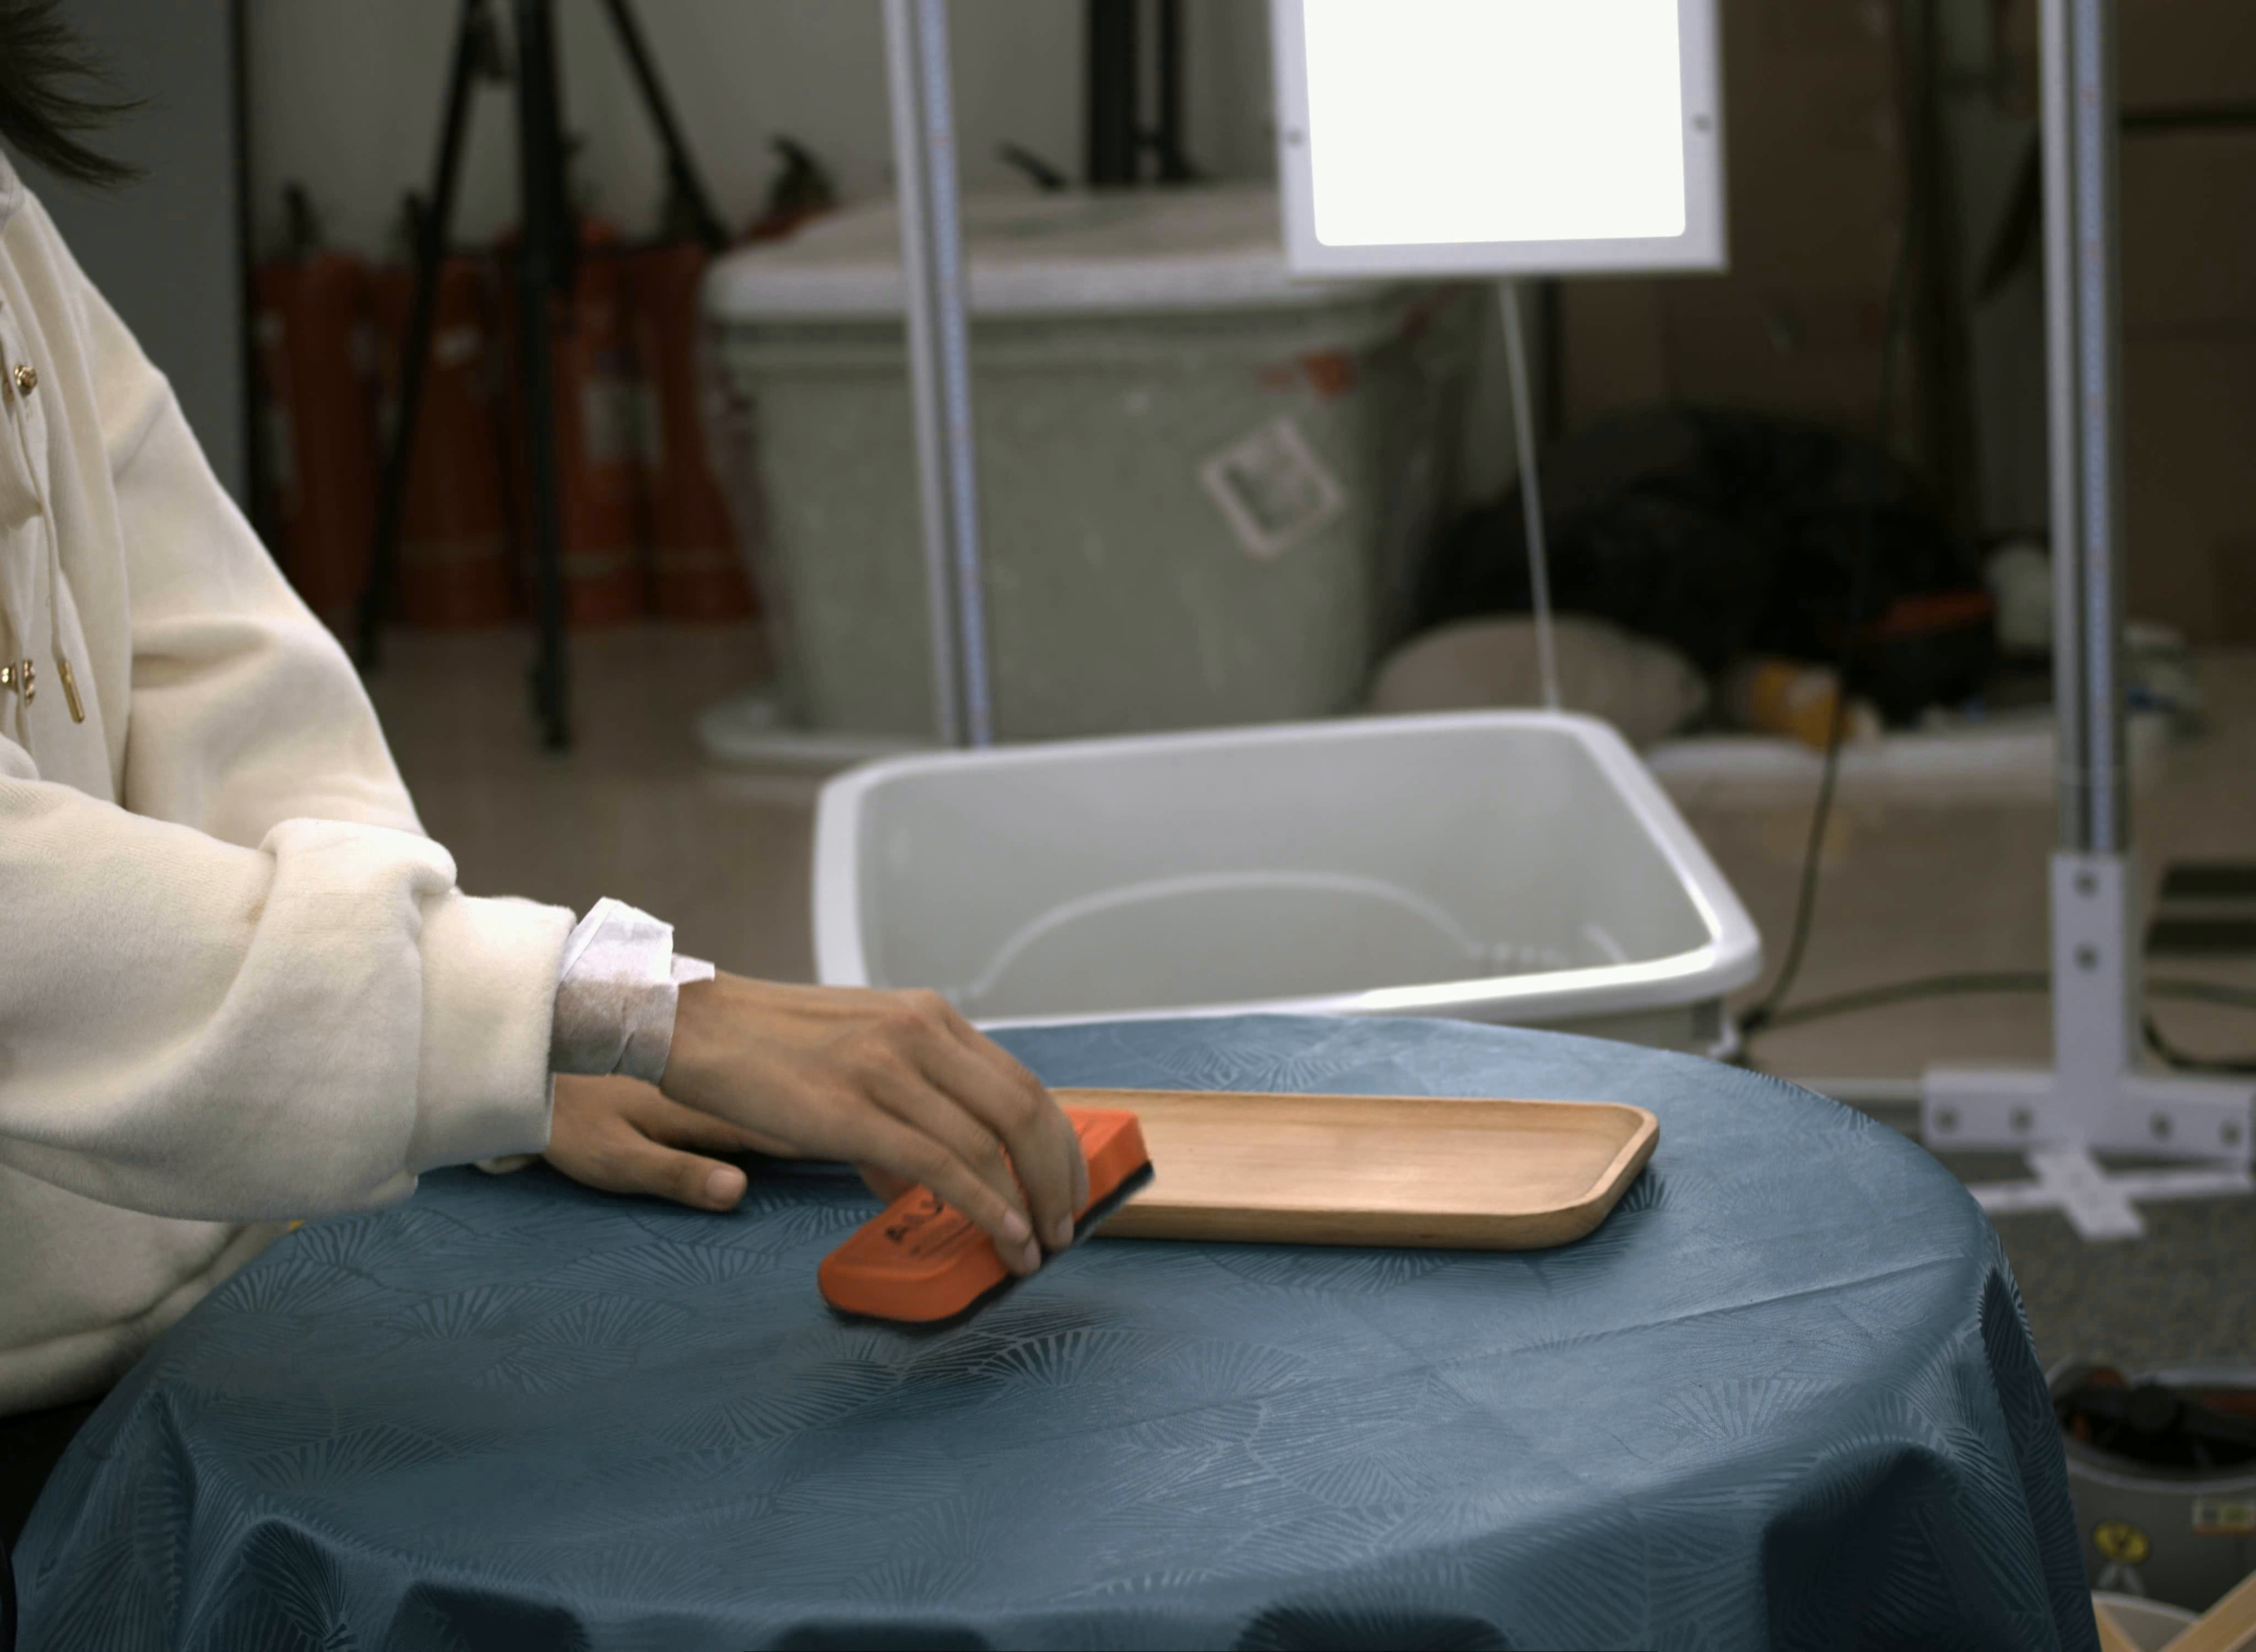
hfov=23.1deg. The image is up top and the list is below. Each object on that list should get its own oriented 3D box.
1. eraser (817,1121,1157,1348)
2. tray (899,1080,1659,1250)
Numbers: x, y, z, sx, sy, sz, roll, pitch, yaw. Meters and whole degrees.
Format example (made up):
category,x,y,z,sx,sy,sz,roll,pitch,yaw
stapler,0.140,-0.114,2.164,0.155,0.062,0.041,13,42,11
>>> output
category,x,y,z,sx,sy,sz,roll,pitch,yaw
eraser,-0.044,0.129,1.747,0.060,0.023,0.105,2,28,47
tray,0.052,0.115,1.886,0.254,0.023,0.128,0,12,23
